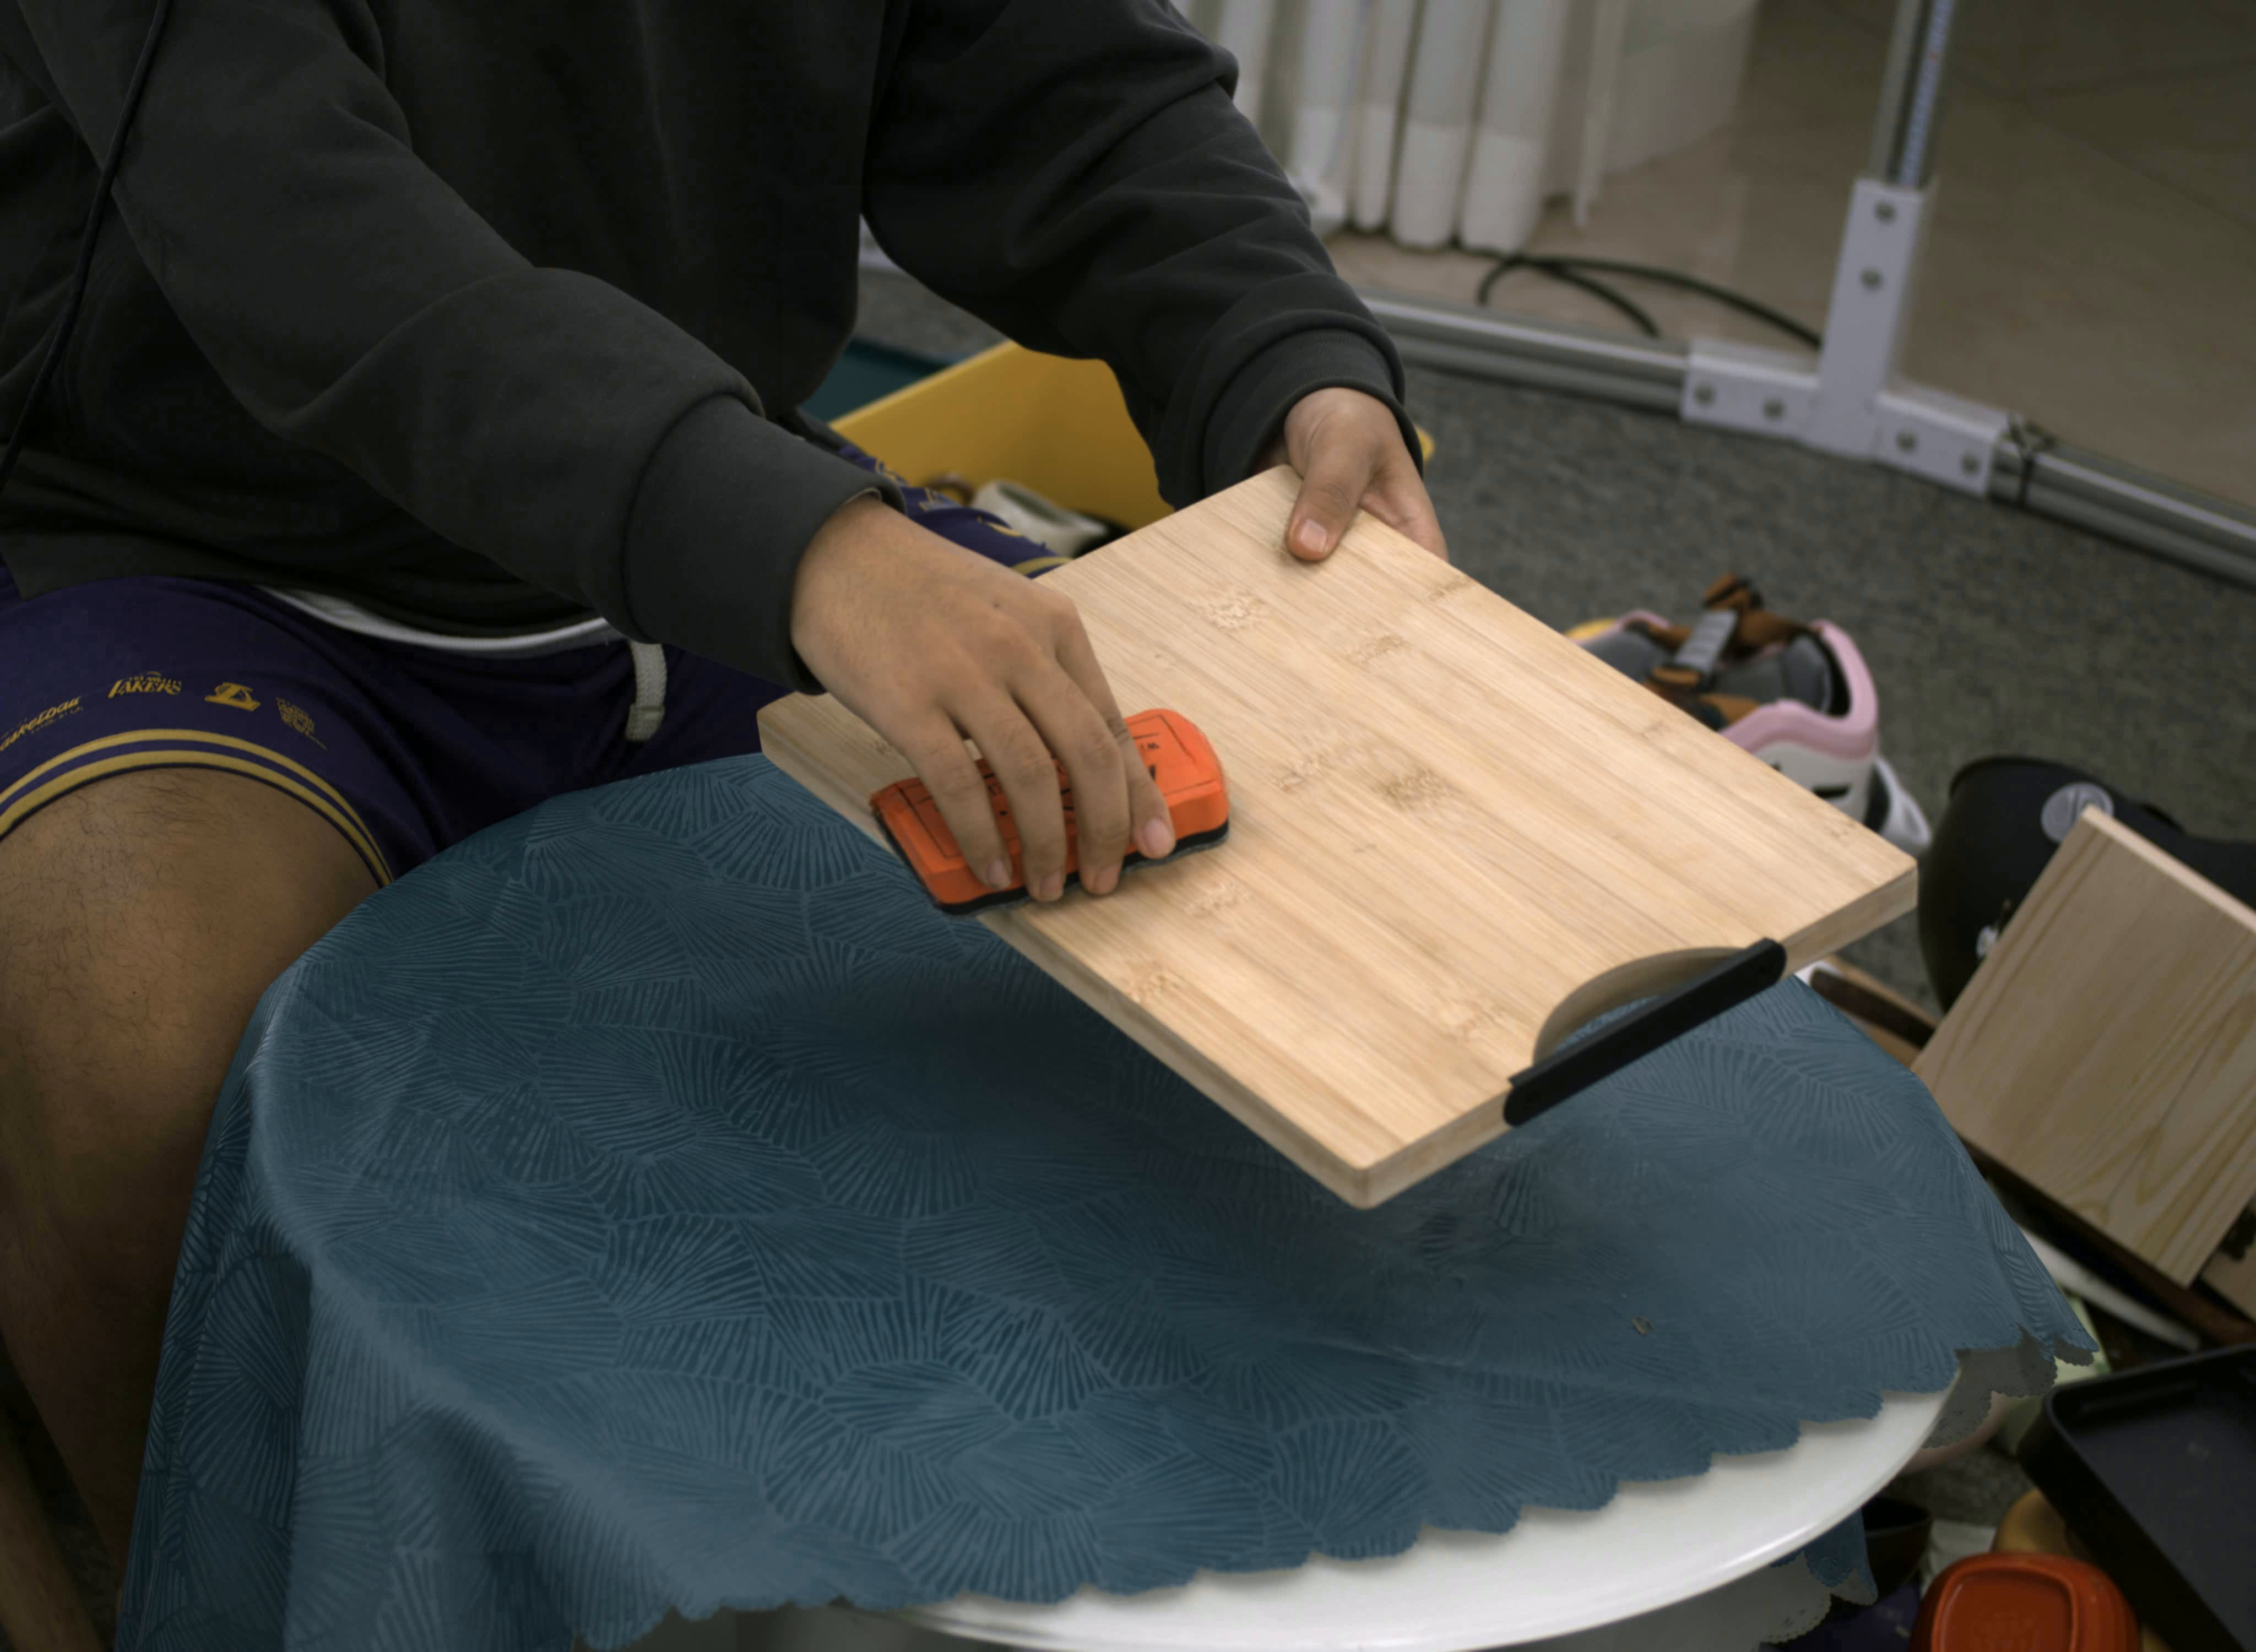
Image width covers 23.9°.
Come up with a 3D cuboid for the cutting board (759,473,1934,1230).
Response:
[{"bbox_3d":[0.068,-0.004,1.808,0.250,0.023,0.351,-27,41,-27],"label":"cutting board"}]

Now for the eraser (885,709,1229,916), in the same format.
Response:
[{"bbox_3d":[-0.024,-0.005,1.787,0.107,0.023,0.059,-16,36,-15],"label":"eraser"}]
